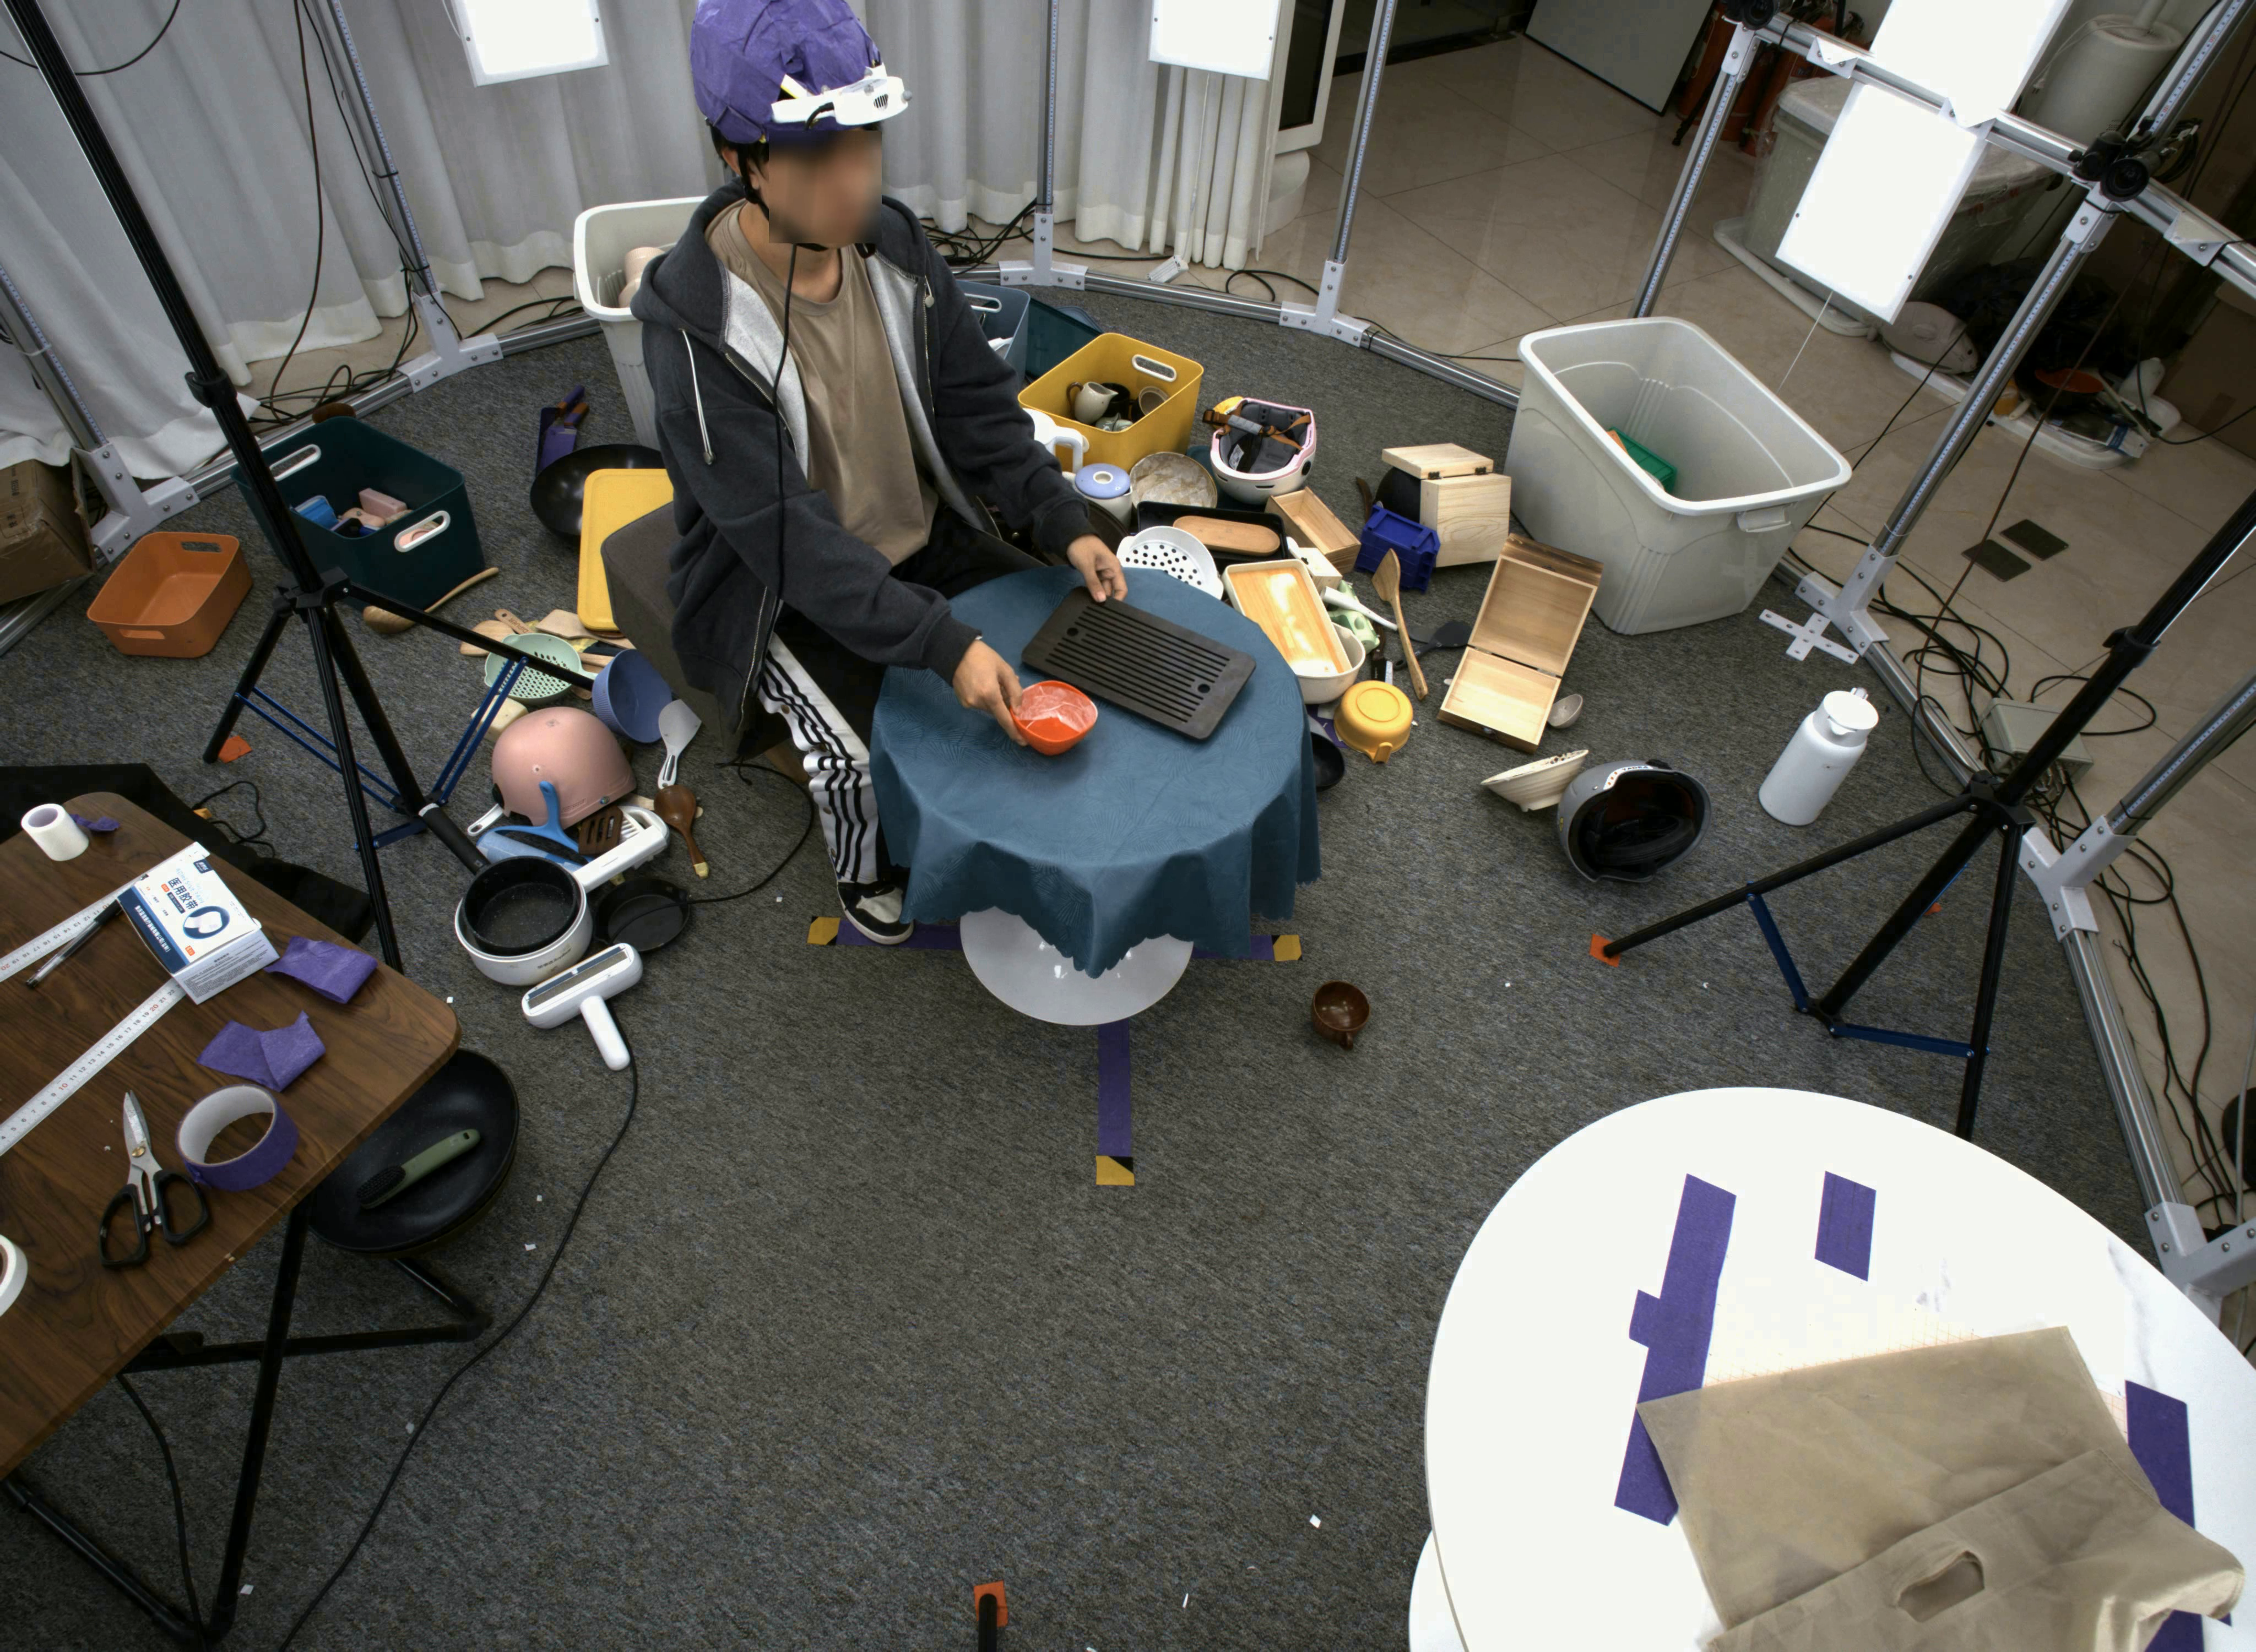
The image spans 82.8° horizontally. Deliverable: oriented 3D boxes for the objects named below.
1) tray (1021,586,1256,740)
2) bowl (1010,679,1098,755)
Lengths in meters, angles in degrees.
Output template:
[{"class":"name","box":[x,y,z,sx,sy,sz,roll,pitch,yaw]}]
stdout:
[{"class":"tray","box":[0.015,-0.237,1.849,0.308,0.018,0.173,25,59,17]},{"class":"bowl","box":[-0.103,-0.141,1.741,0.119,0.050,0.122,5,49,-6]}]
